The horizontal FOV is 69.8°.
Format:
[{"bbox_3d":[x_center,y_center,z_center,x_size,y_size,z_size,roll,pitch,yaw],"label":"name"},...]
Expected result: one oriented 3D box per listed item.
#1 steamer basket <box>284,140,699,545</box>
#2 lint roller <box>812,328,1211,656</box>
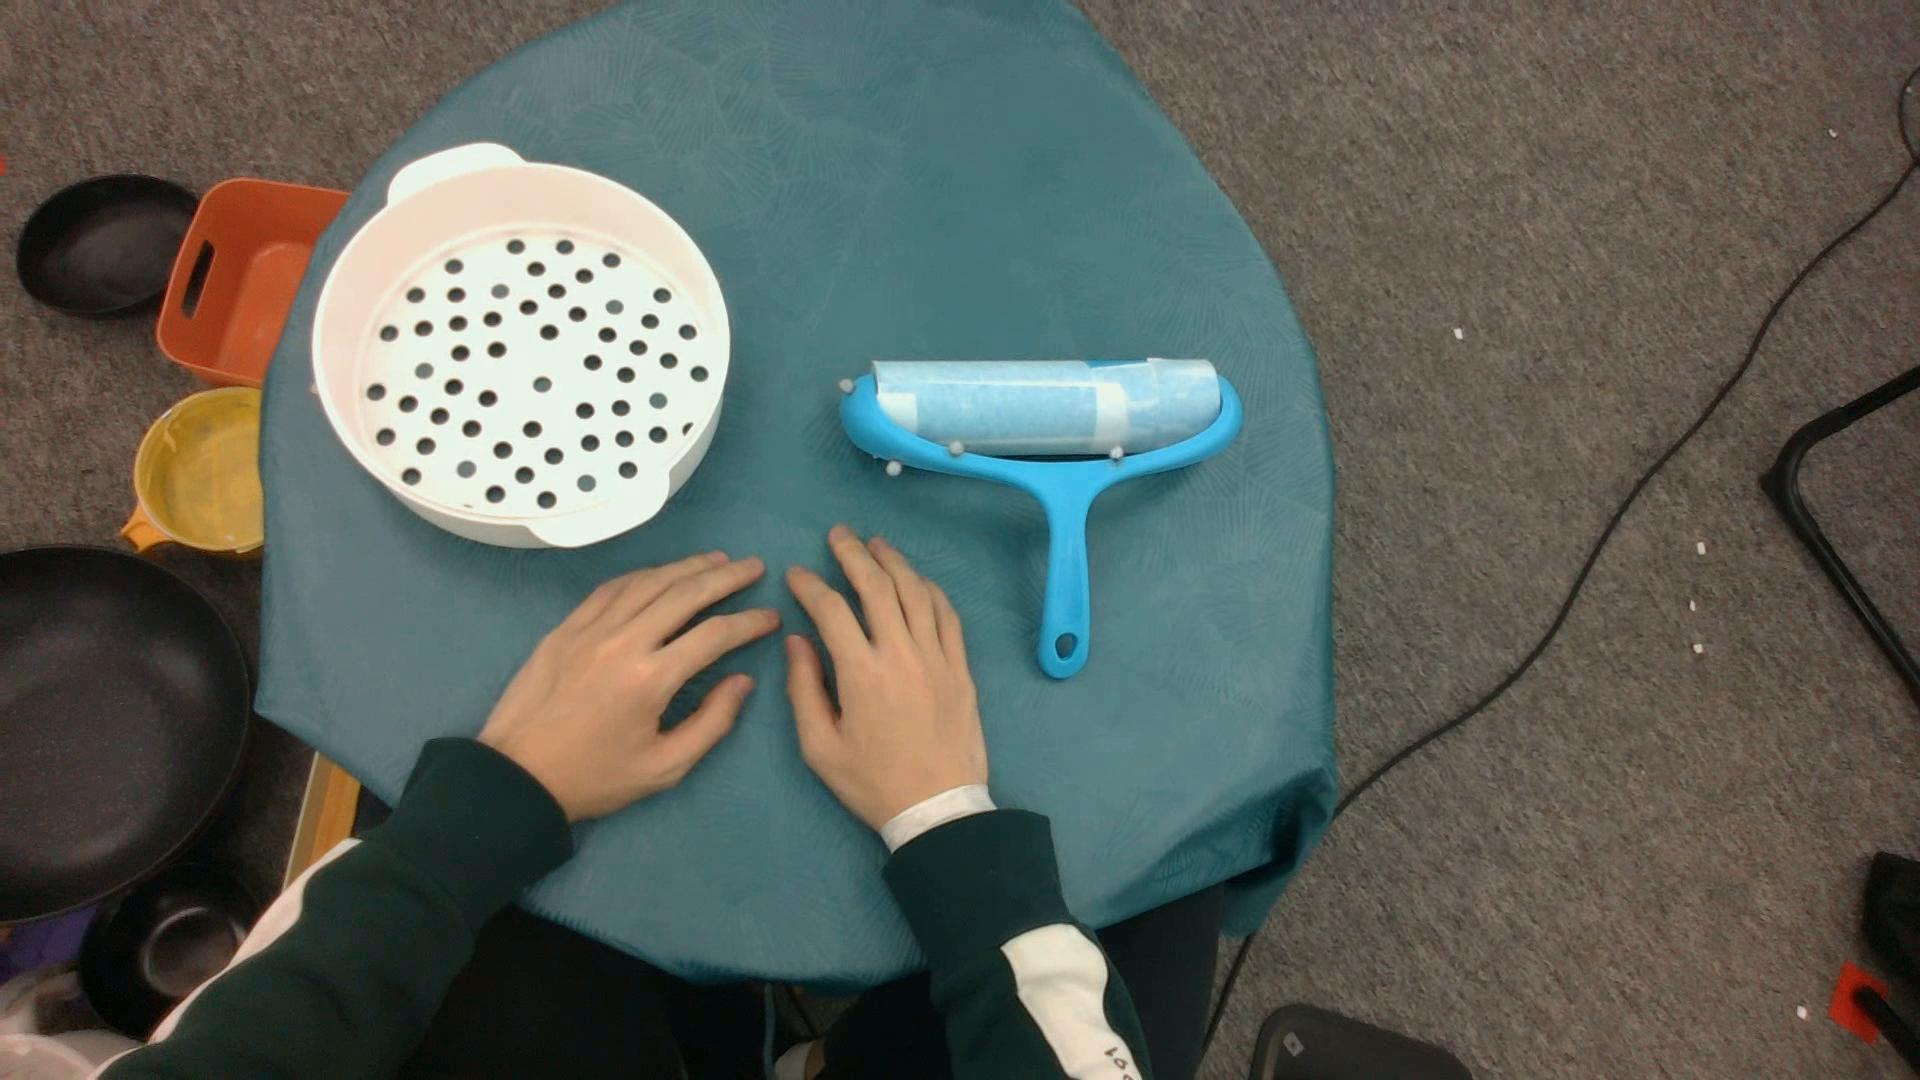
[{"bbox_3d":[-0.239,-0.097,0.724,0.202,0.069,0.231,-25,79,-16],"label":"steamer basket"},{"bbox_3d":[0.042,-0.031,0.758,0.229,0.067,0.180,-7,72,-14],"label":"lint roller"}]
